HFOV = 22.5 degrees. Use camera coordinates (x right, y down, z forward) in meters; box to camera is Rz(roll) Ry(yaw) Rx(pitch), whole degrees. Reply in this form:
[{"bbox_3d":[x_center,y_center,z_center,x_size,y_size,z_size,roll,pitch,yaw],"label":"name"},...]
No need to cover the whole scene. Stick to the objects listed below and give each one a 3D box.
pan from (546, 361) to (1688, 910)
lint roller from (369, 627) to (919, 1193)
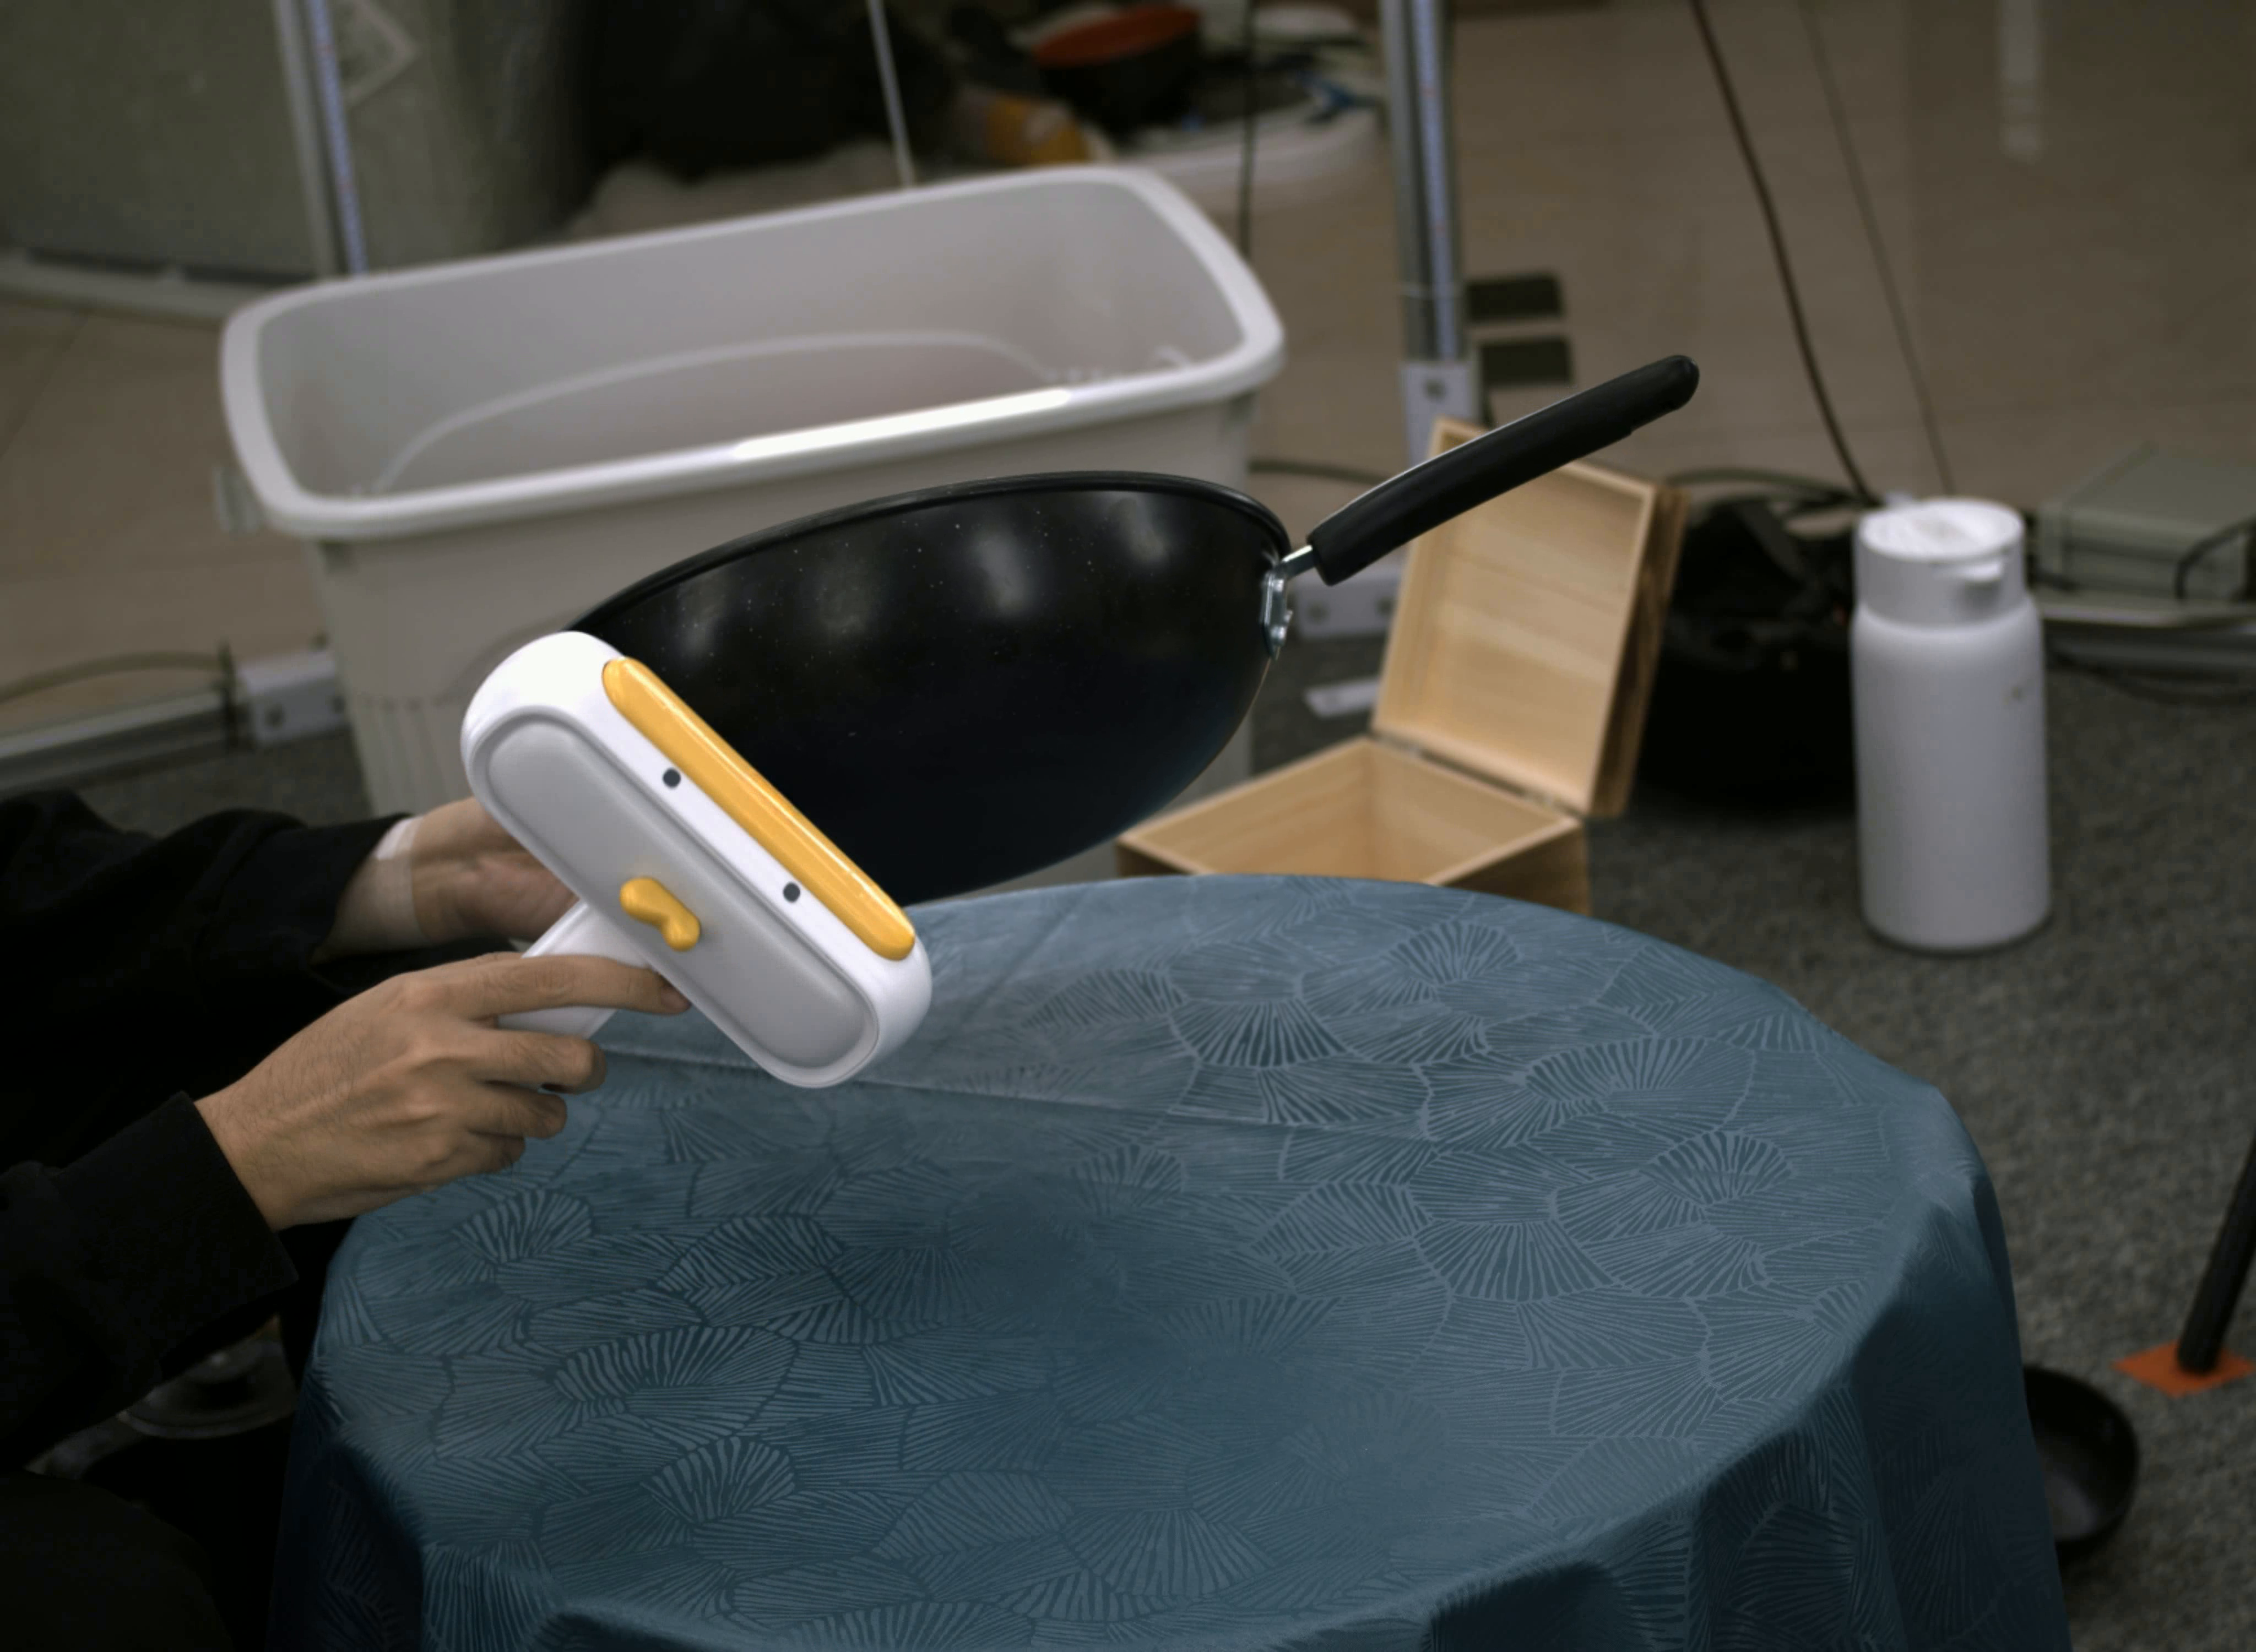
[{"bbox_3d":[-0.007,-0.063,2.146,0.476,0.111,0.313,-15,-15,1],"label":"pan"},{"bbox_3d":[-0.194,0.051,1.974,0.194,0.194,0.073,-44,19,26],"label":"lint roller"}]
